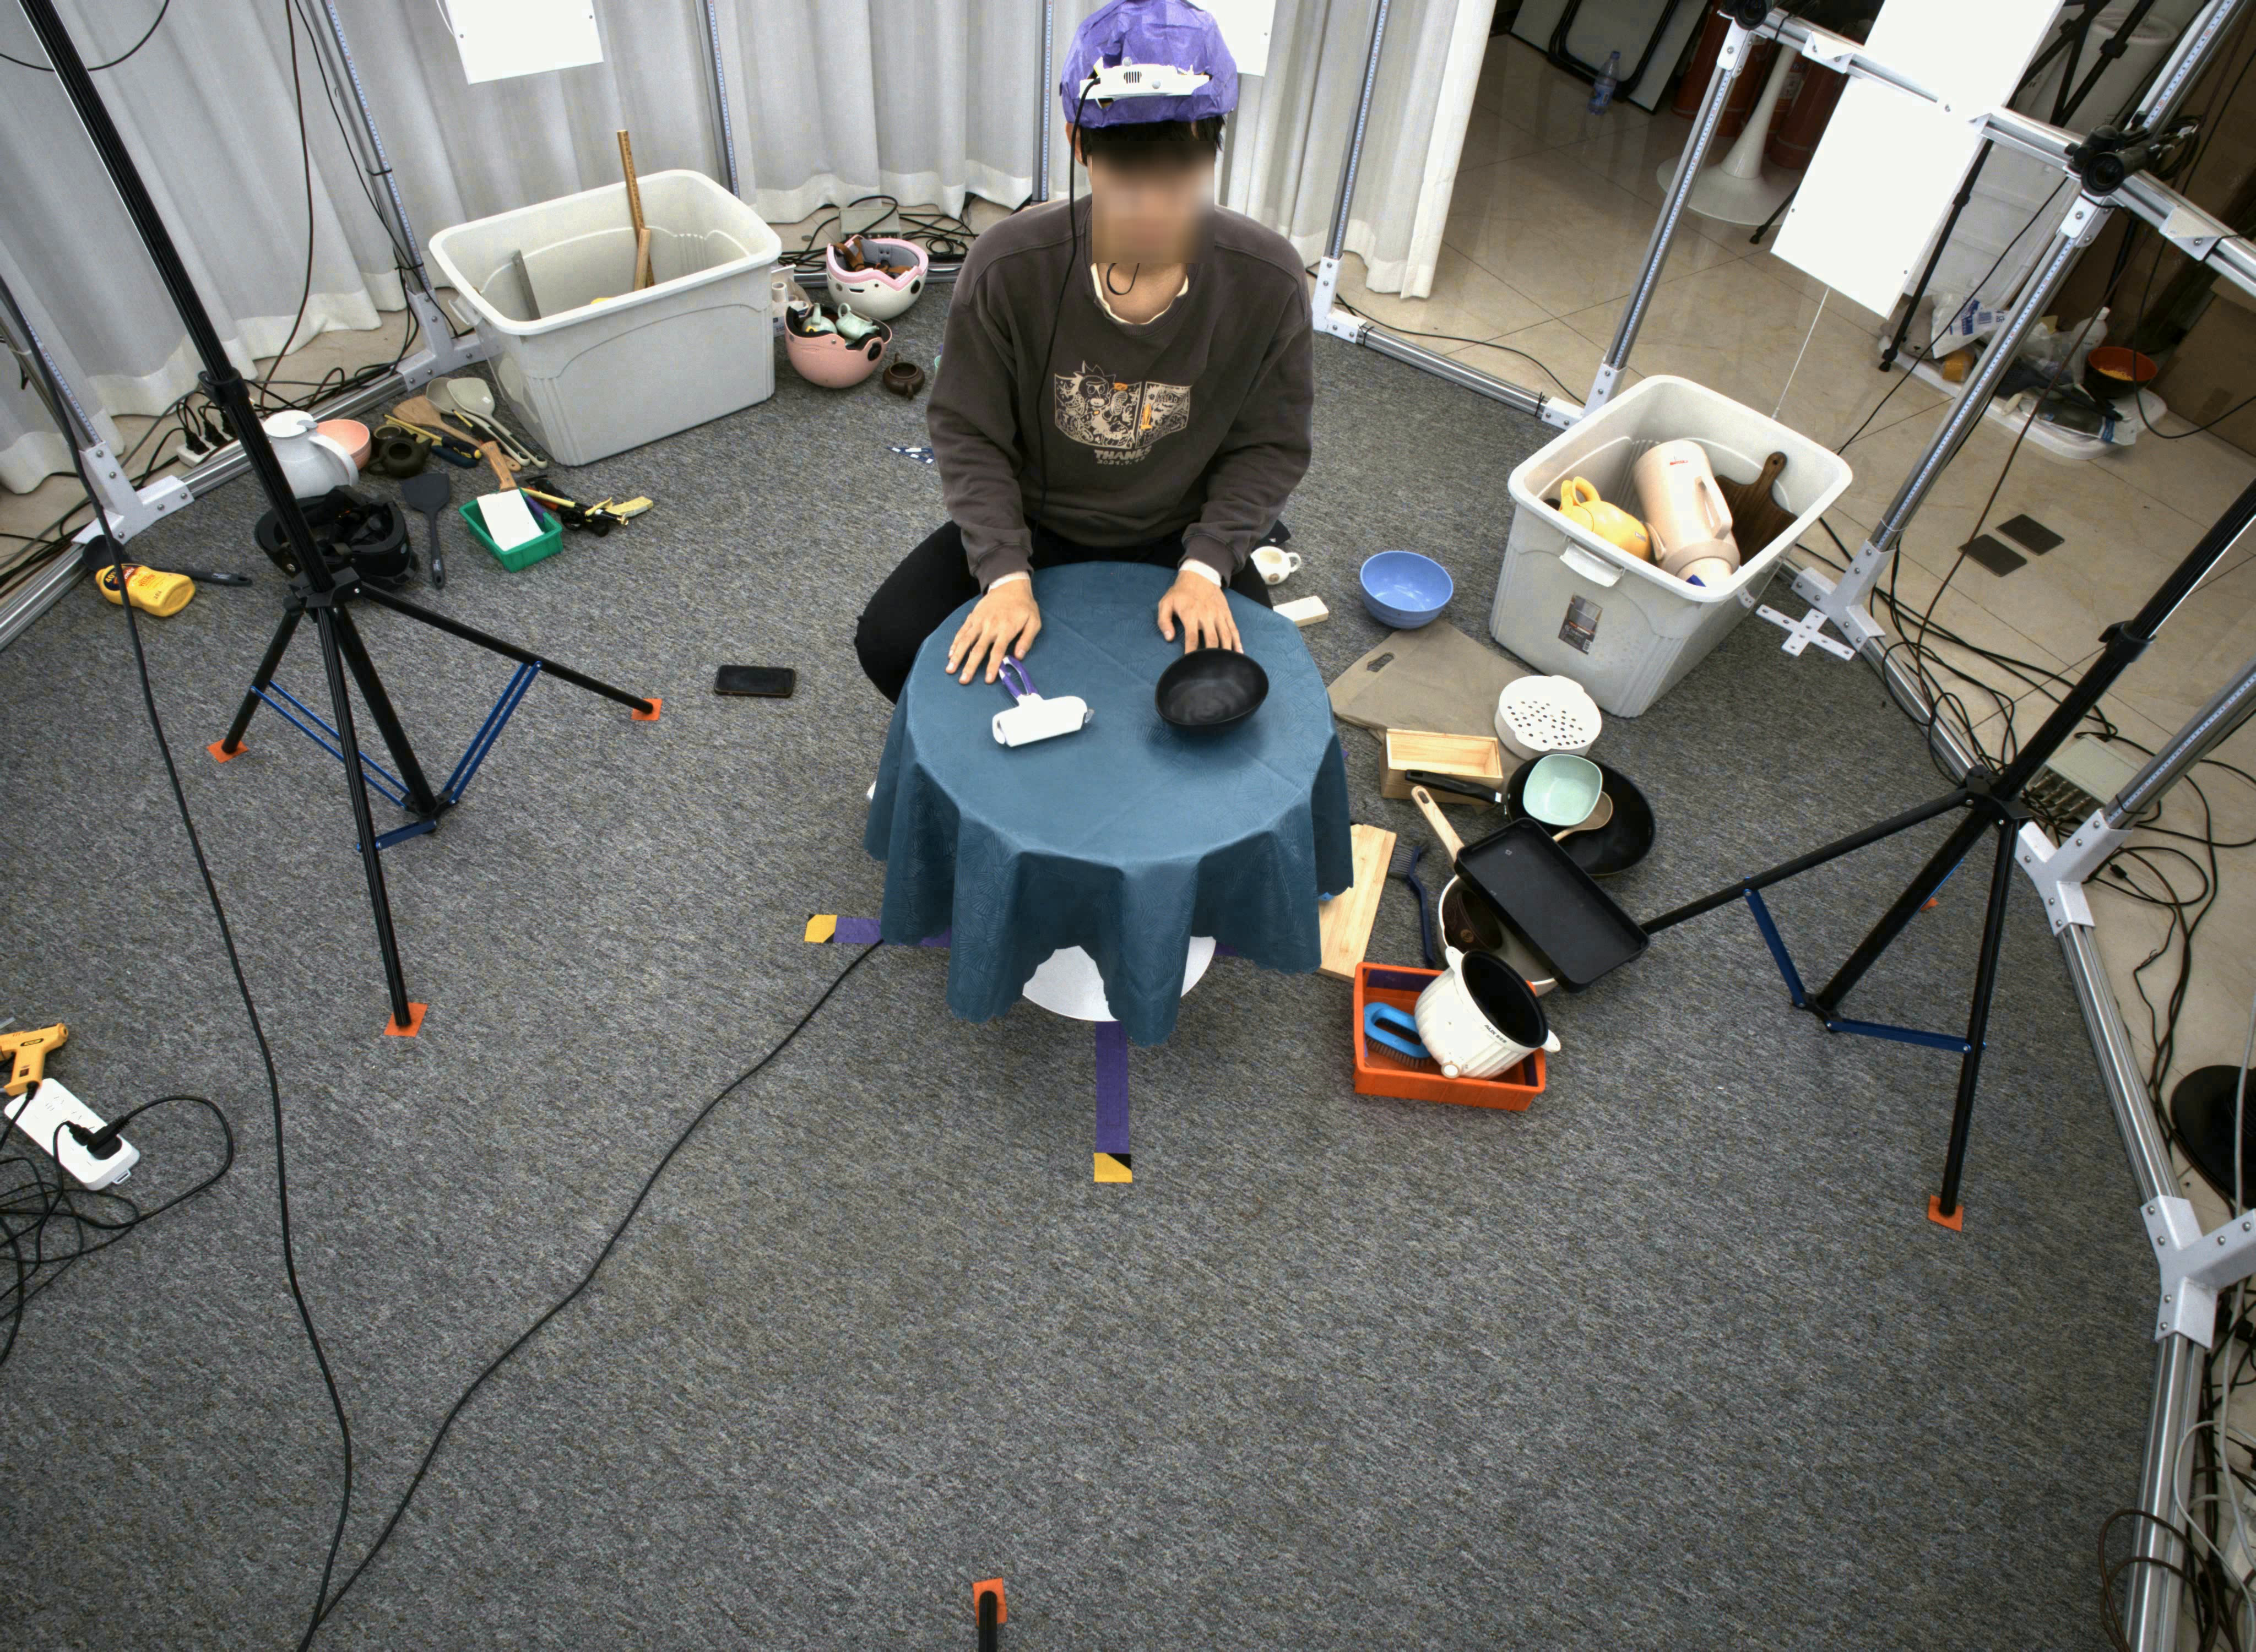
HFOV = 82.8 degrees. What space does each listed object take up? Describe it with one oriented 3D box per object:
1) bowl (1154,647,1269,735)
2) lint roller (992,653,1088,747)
[{"bbox_3d":[0.115,-0.175,1.784,0.171,0.065,0.140,-29,55,-24],"label":"bowl"},{"bbox_3d":[-0.141,-0.191,1.792,0.133,0.049,0.185,-13,54,-14],"label":"lint roller"}]
